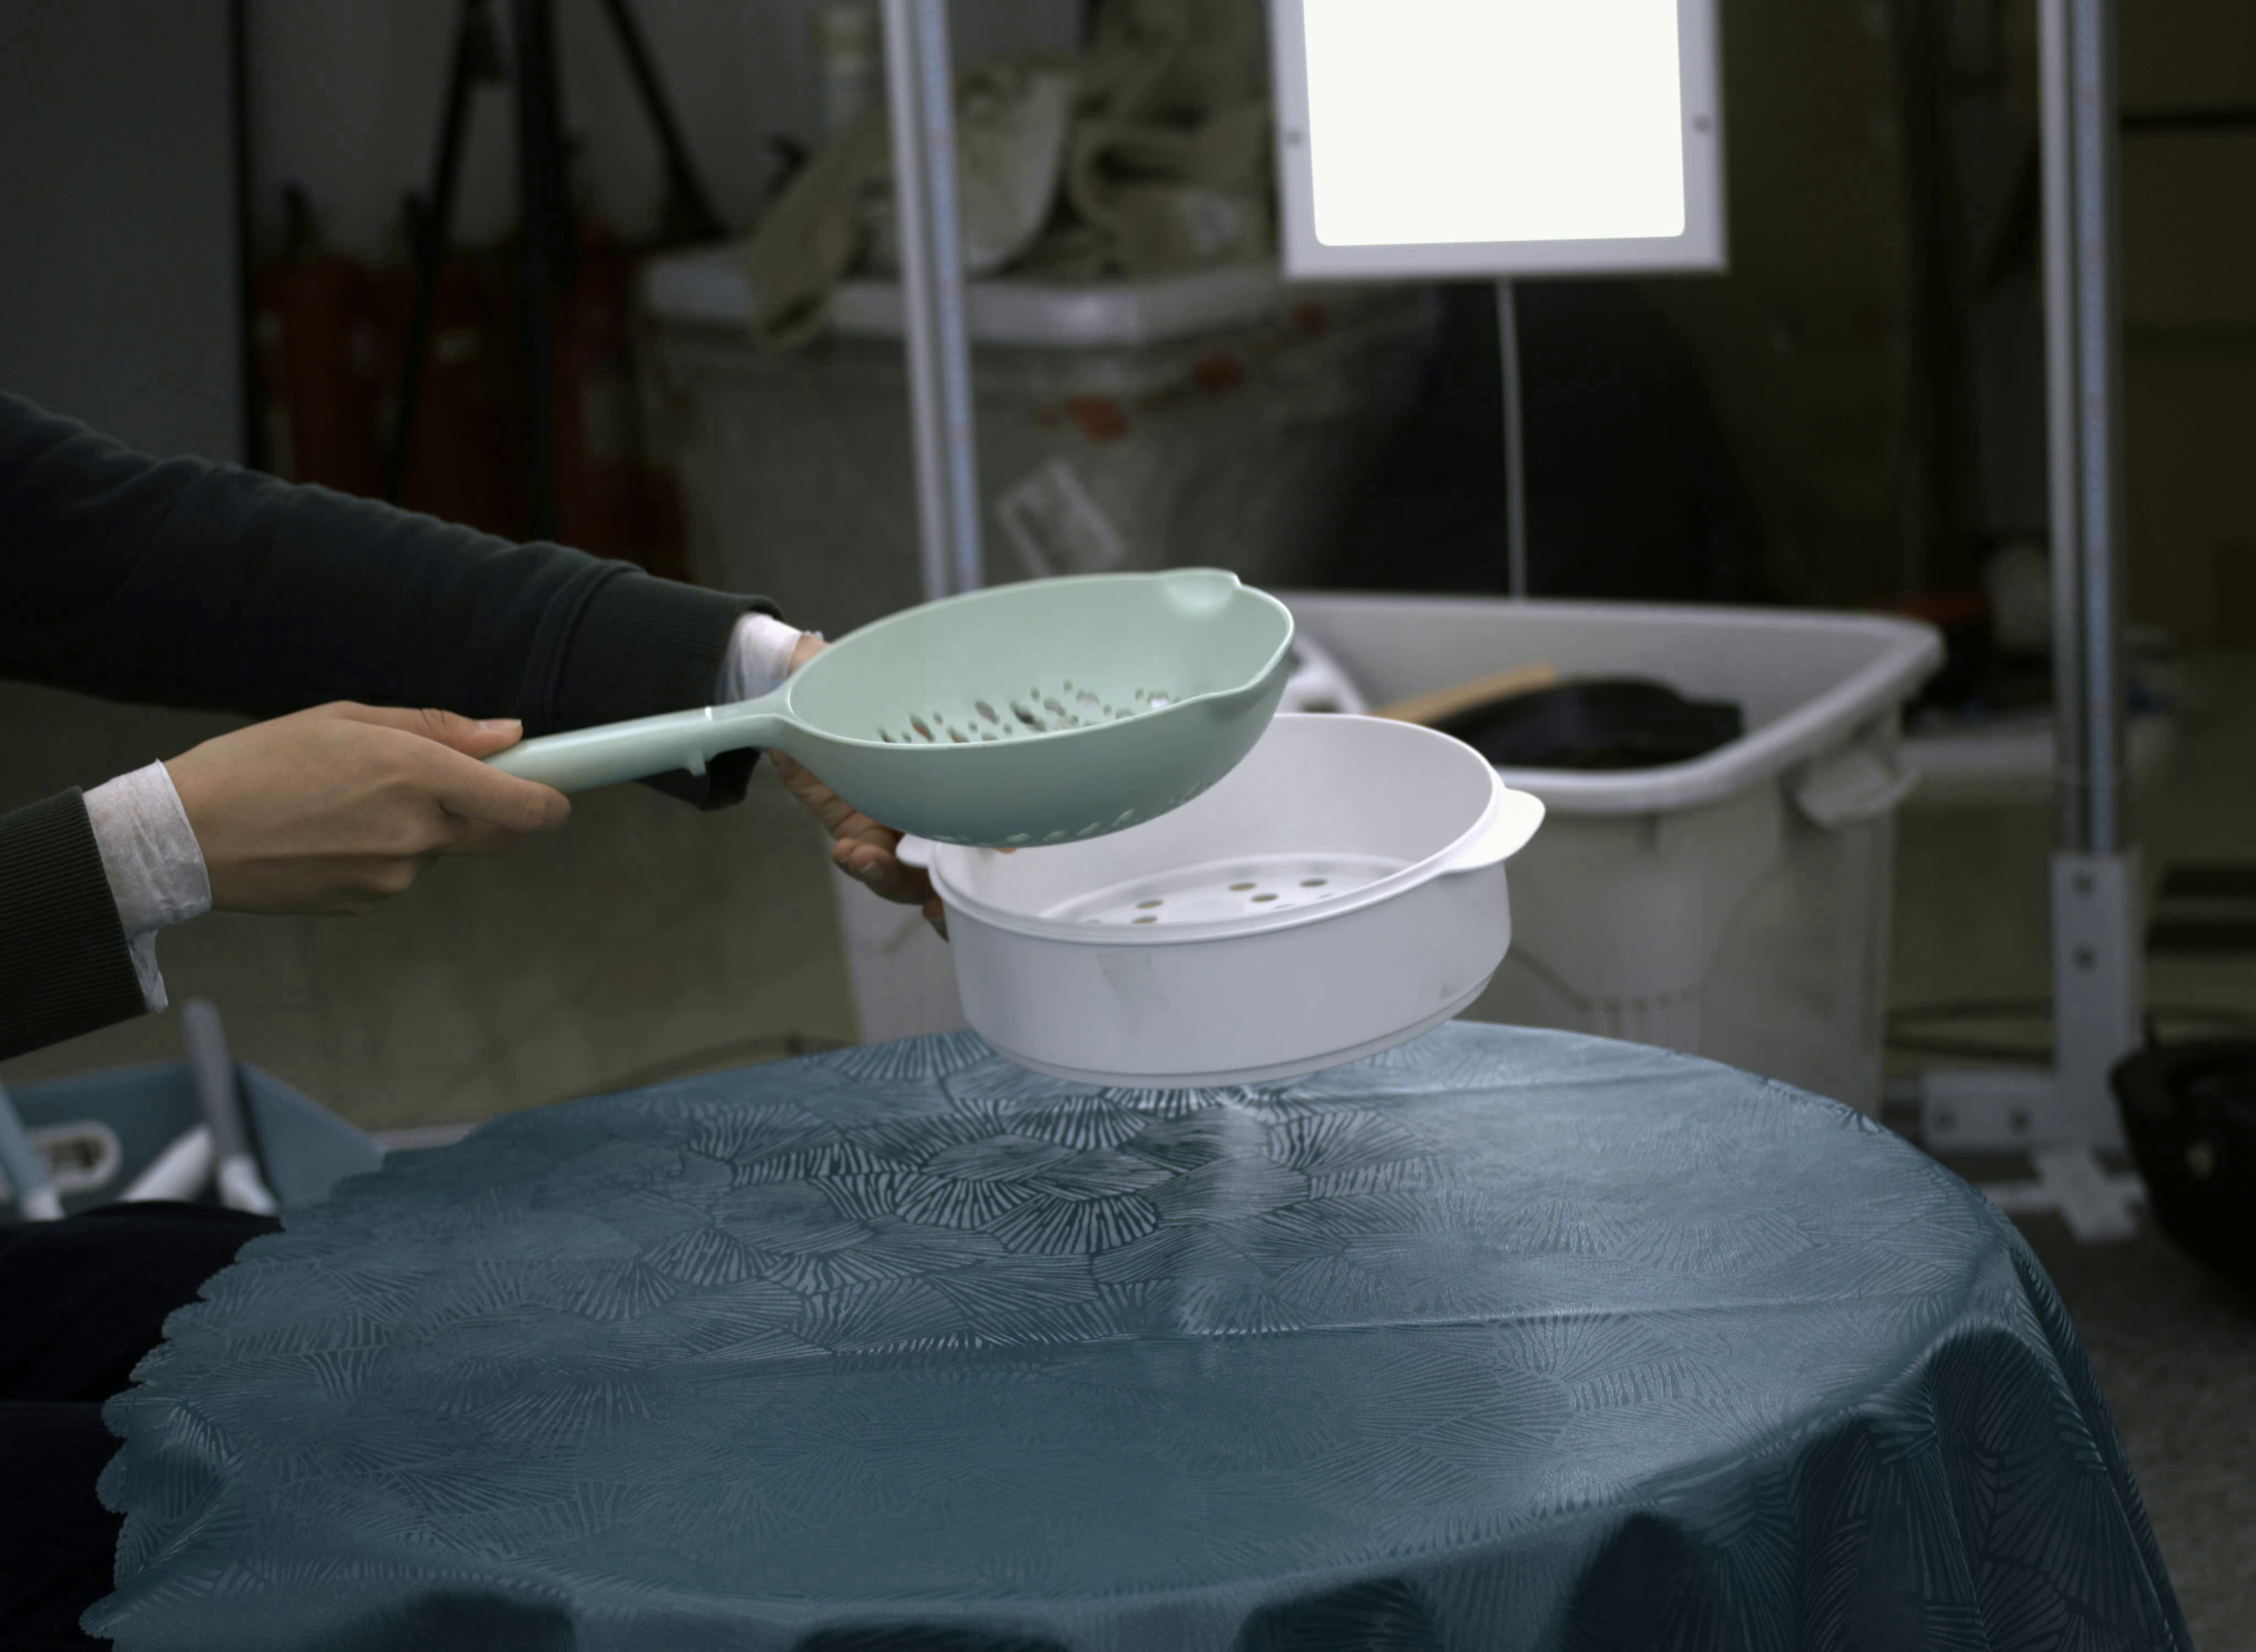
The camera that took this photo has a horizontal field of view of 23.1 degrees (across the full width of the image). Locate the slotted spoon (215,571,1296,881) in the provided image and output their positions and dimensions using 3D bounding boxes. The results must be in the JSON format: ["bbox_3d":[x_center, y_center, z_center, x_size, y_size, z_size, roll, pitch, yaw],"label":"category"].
[{"bbox_3d":[-0.122,-0.026,1.811,0.357,0.076,0.169,-3,17,-3],"label":"slotted spoon"}]

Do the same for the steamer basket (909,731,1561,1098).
[{"bbox_3d":[0.039,0.030,1.898,0.234,0.069,0.198,-1,20,23],"label":"steamer basket"}]
